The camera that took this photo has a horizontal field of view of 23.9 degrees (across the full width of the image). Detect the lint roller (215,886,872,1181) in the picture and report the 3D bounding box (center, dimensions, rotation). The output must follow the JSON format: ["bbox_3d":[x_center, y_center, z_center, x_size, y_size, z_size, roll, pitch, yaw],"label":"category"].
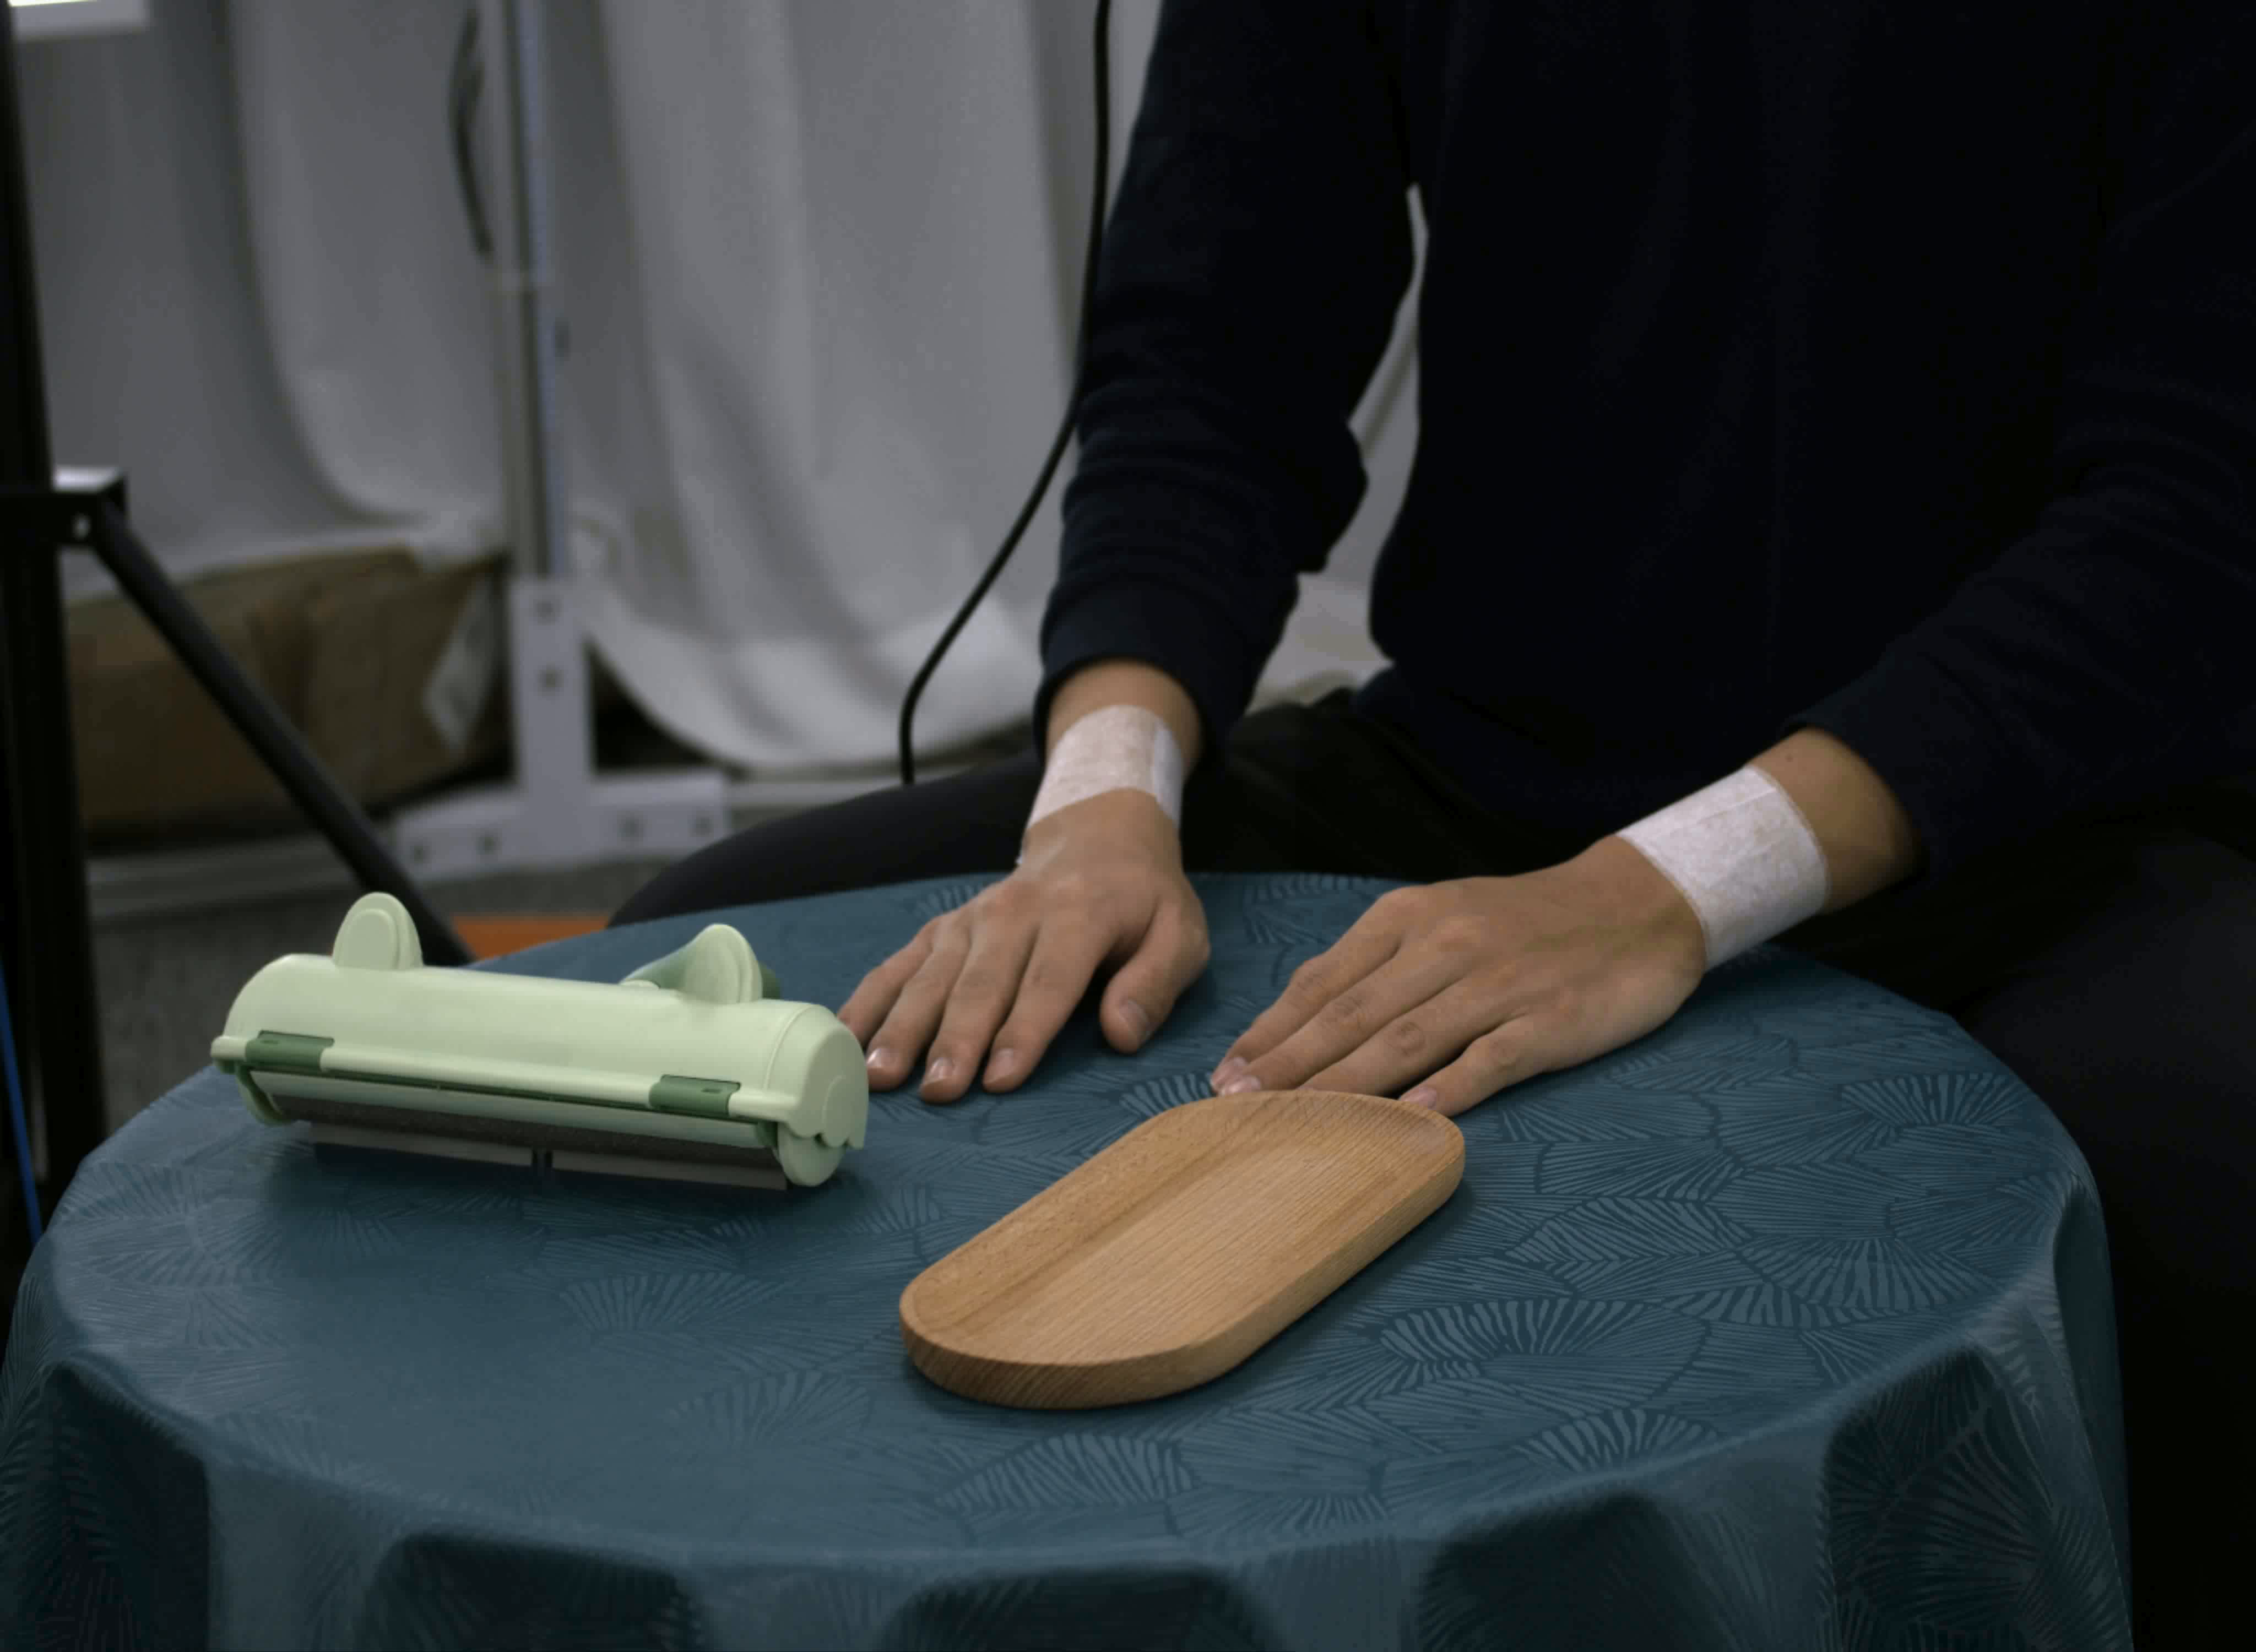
[{"bbox_3d":[-0.155,0.045,1.648,0.201,0.082,0.181,5,23,23],"label":"lint roller"}]

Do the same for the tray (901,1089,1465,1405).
[{"bbox_3d":[0.019,0.116,1.495,0.103,0.020,0.227,6,17,27],"label":"tray"}]
